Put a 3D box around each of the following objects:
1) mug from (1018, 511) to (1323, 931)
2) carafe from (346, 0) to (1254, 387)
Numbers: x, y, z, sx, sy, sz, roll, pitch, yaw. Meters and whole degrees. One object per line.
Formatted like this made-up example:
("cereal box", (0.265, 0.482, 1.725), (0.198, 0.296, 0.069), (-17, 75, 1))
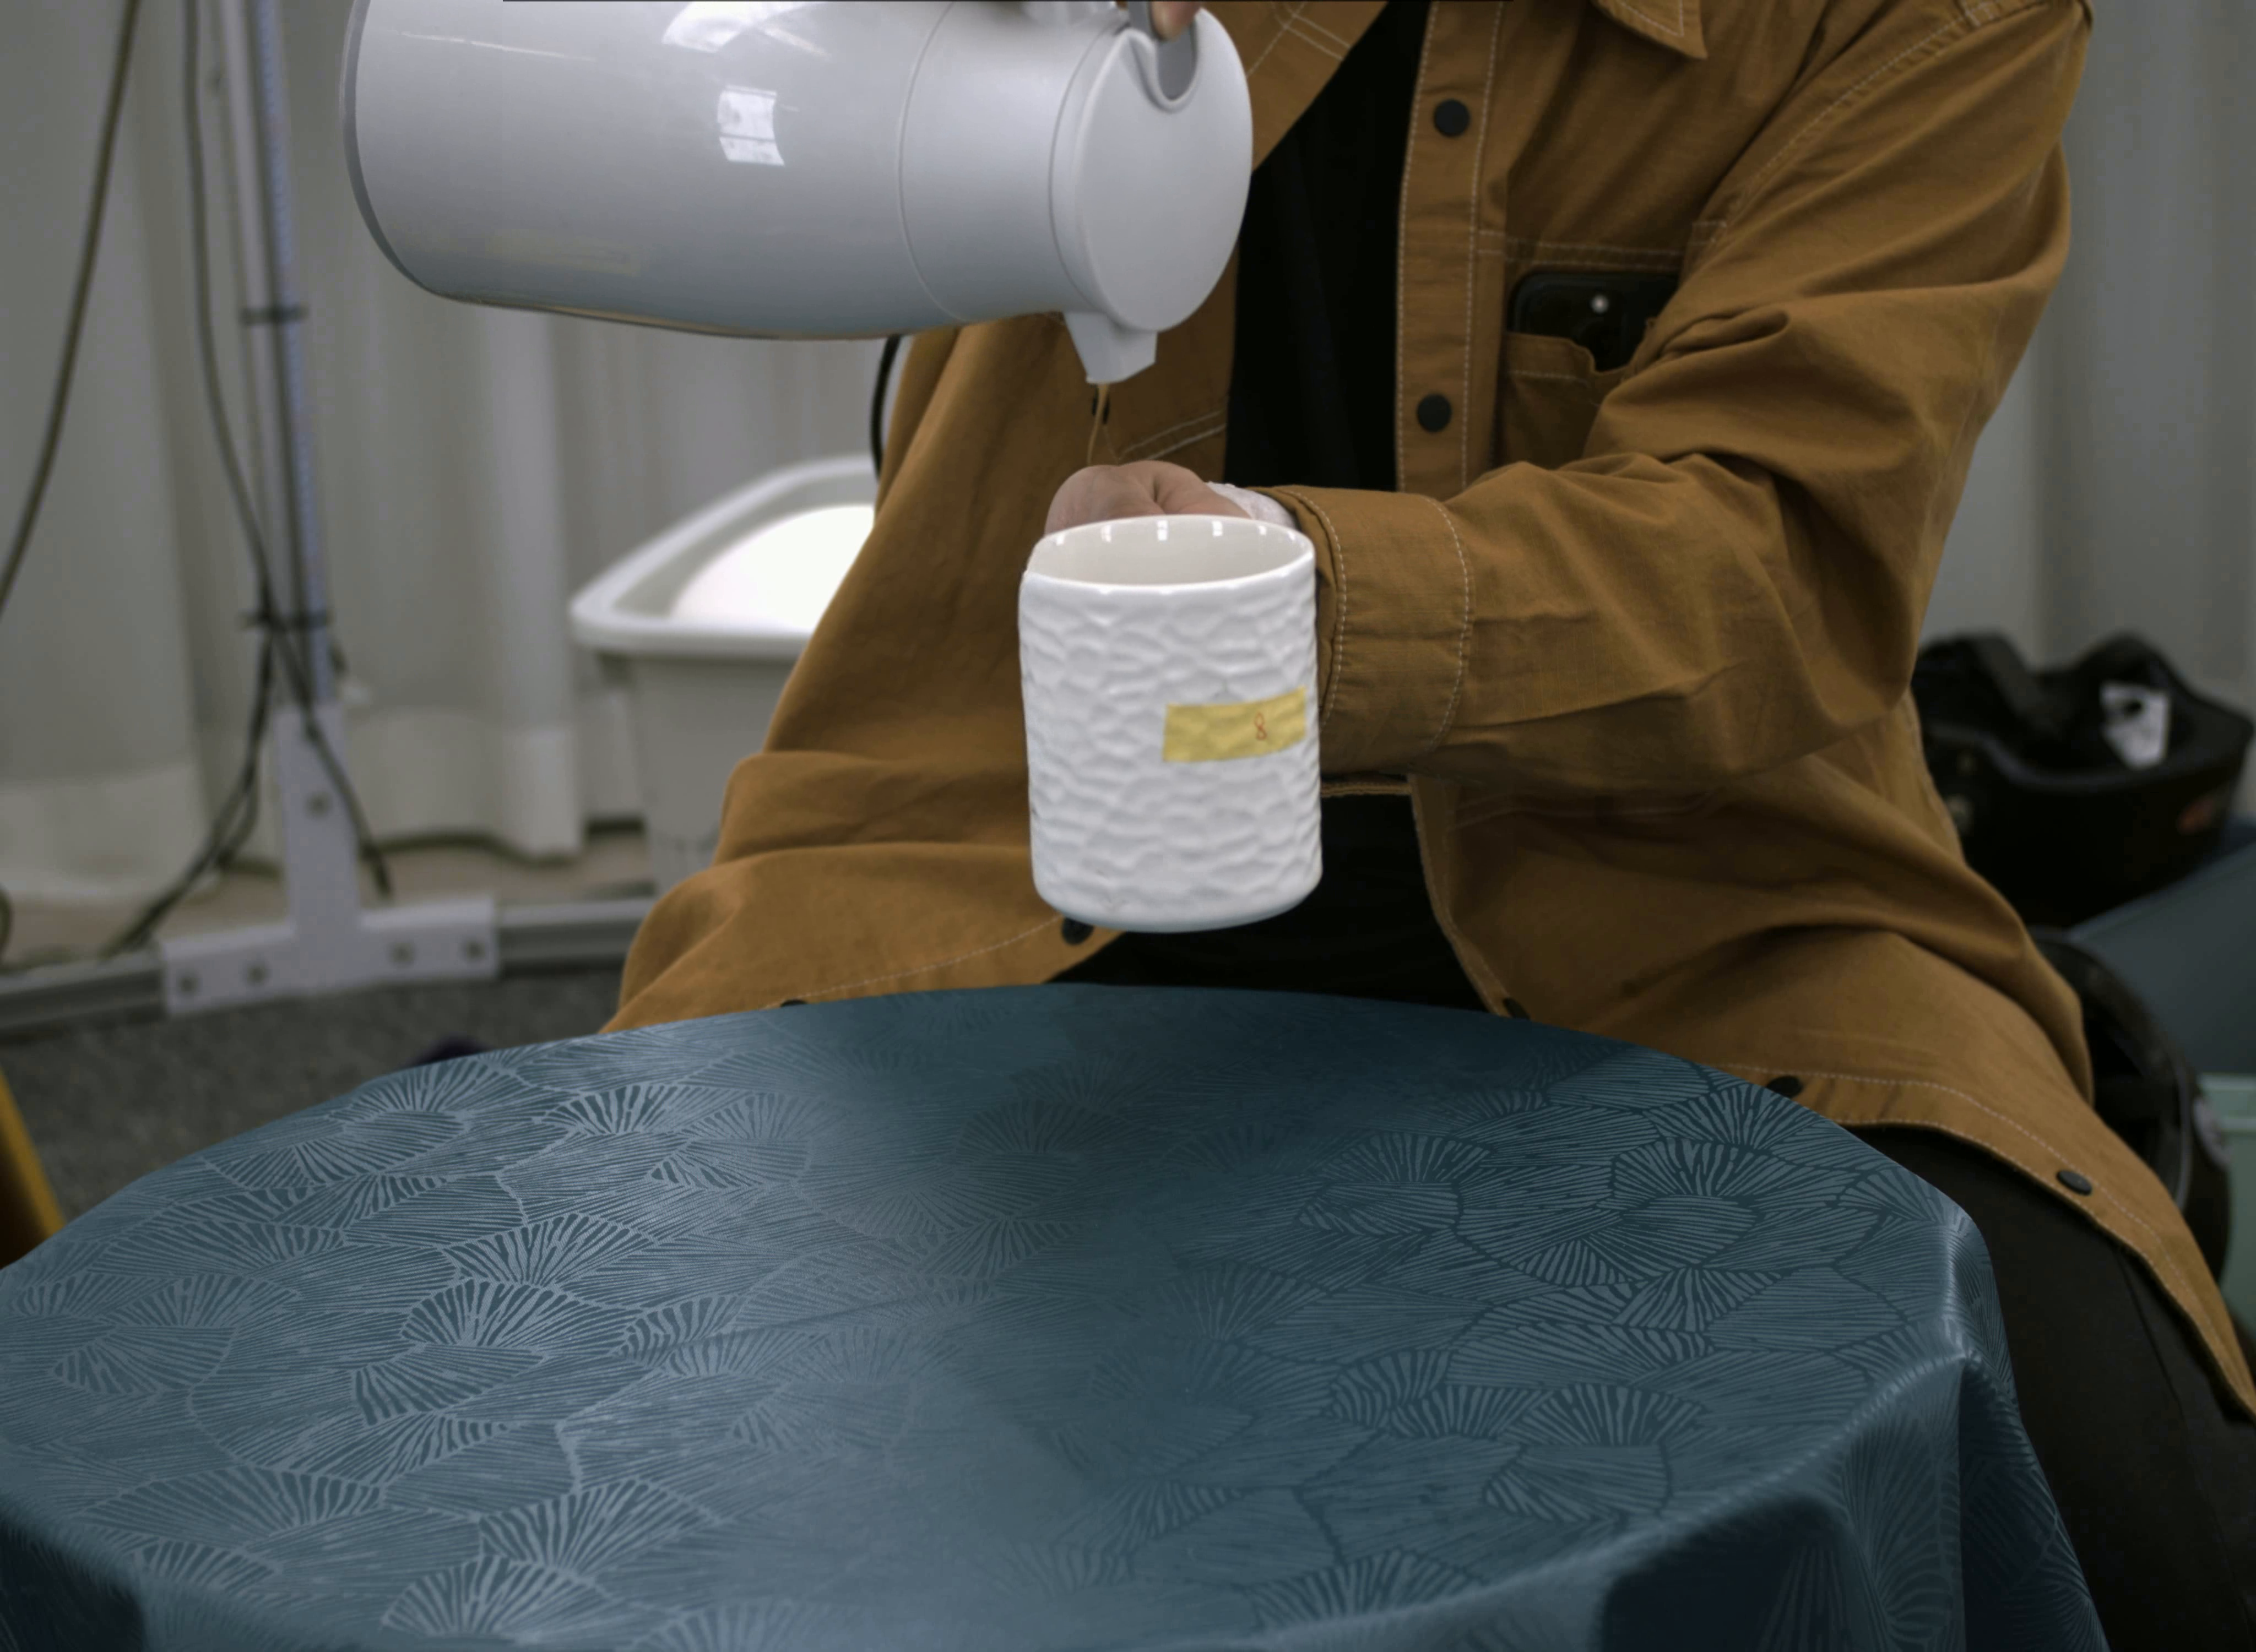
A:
("mug", (0.010, -0.035, 1.571), (0.084, 0.101, 0.119), (-5, 16, -9))
("carafe", (-0.089, -0.217, 1.560), (0.249, 0.166, 0.133), (11, 28, 32))
